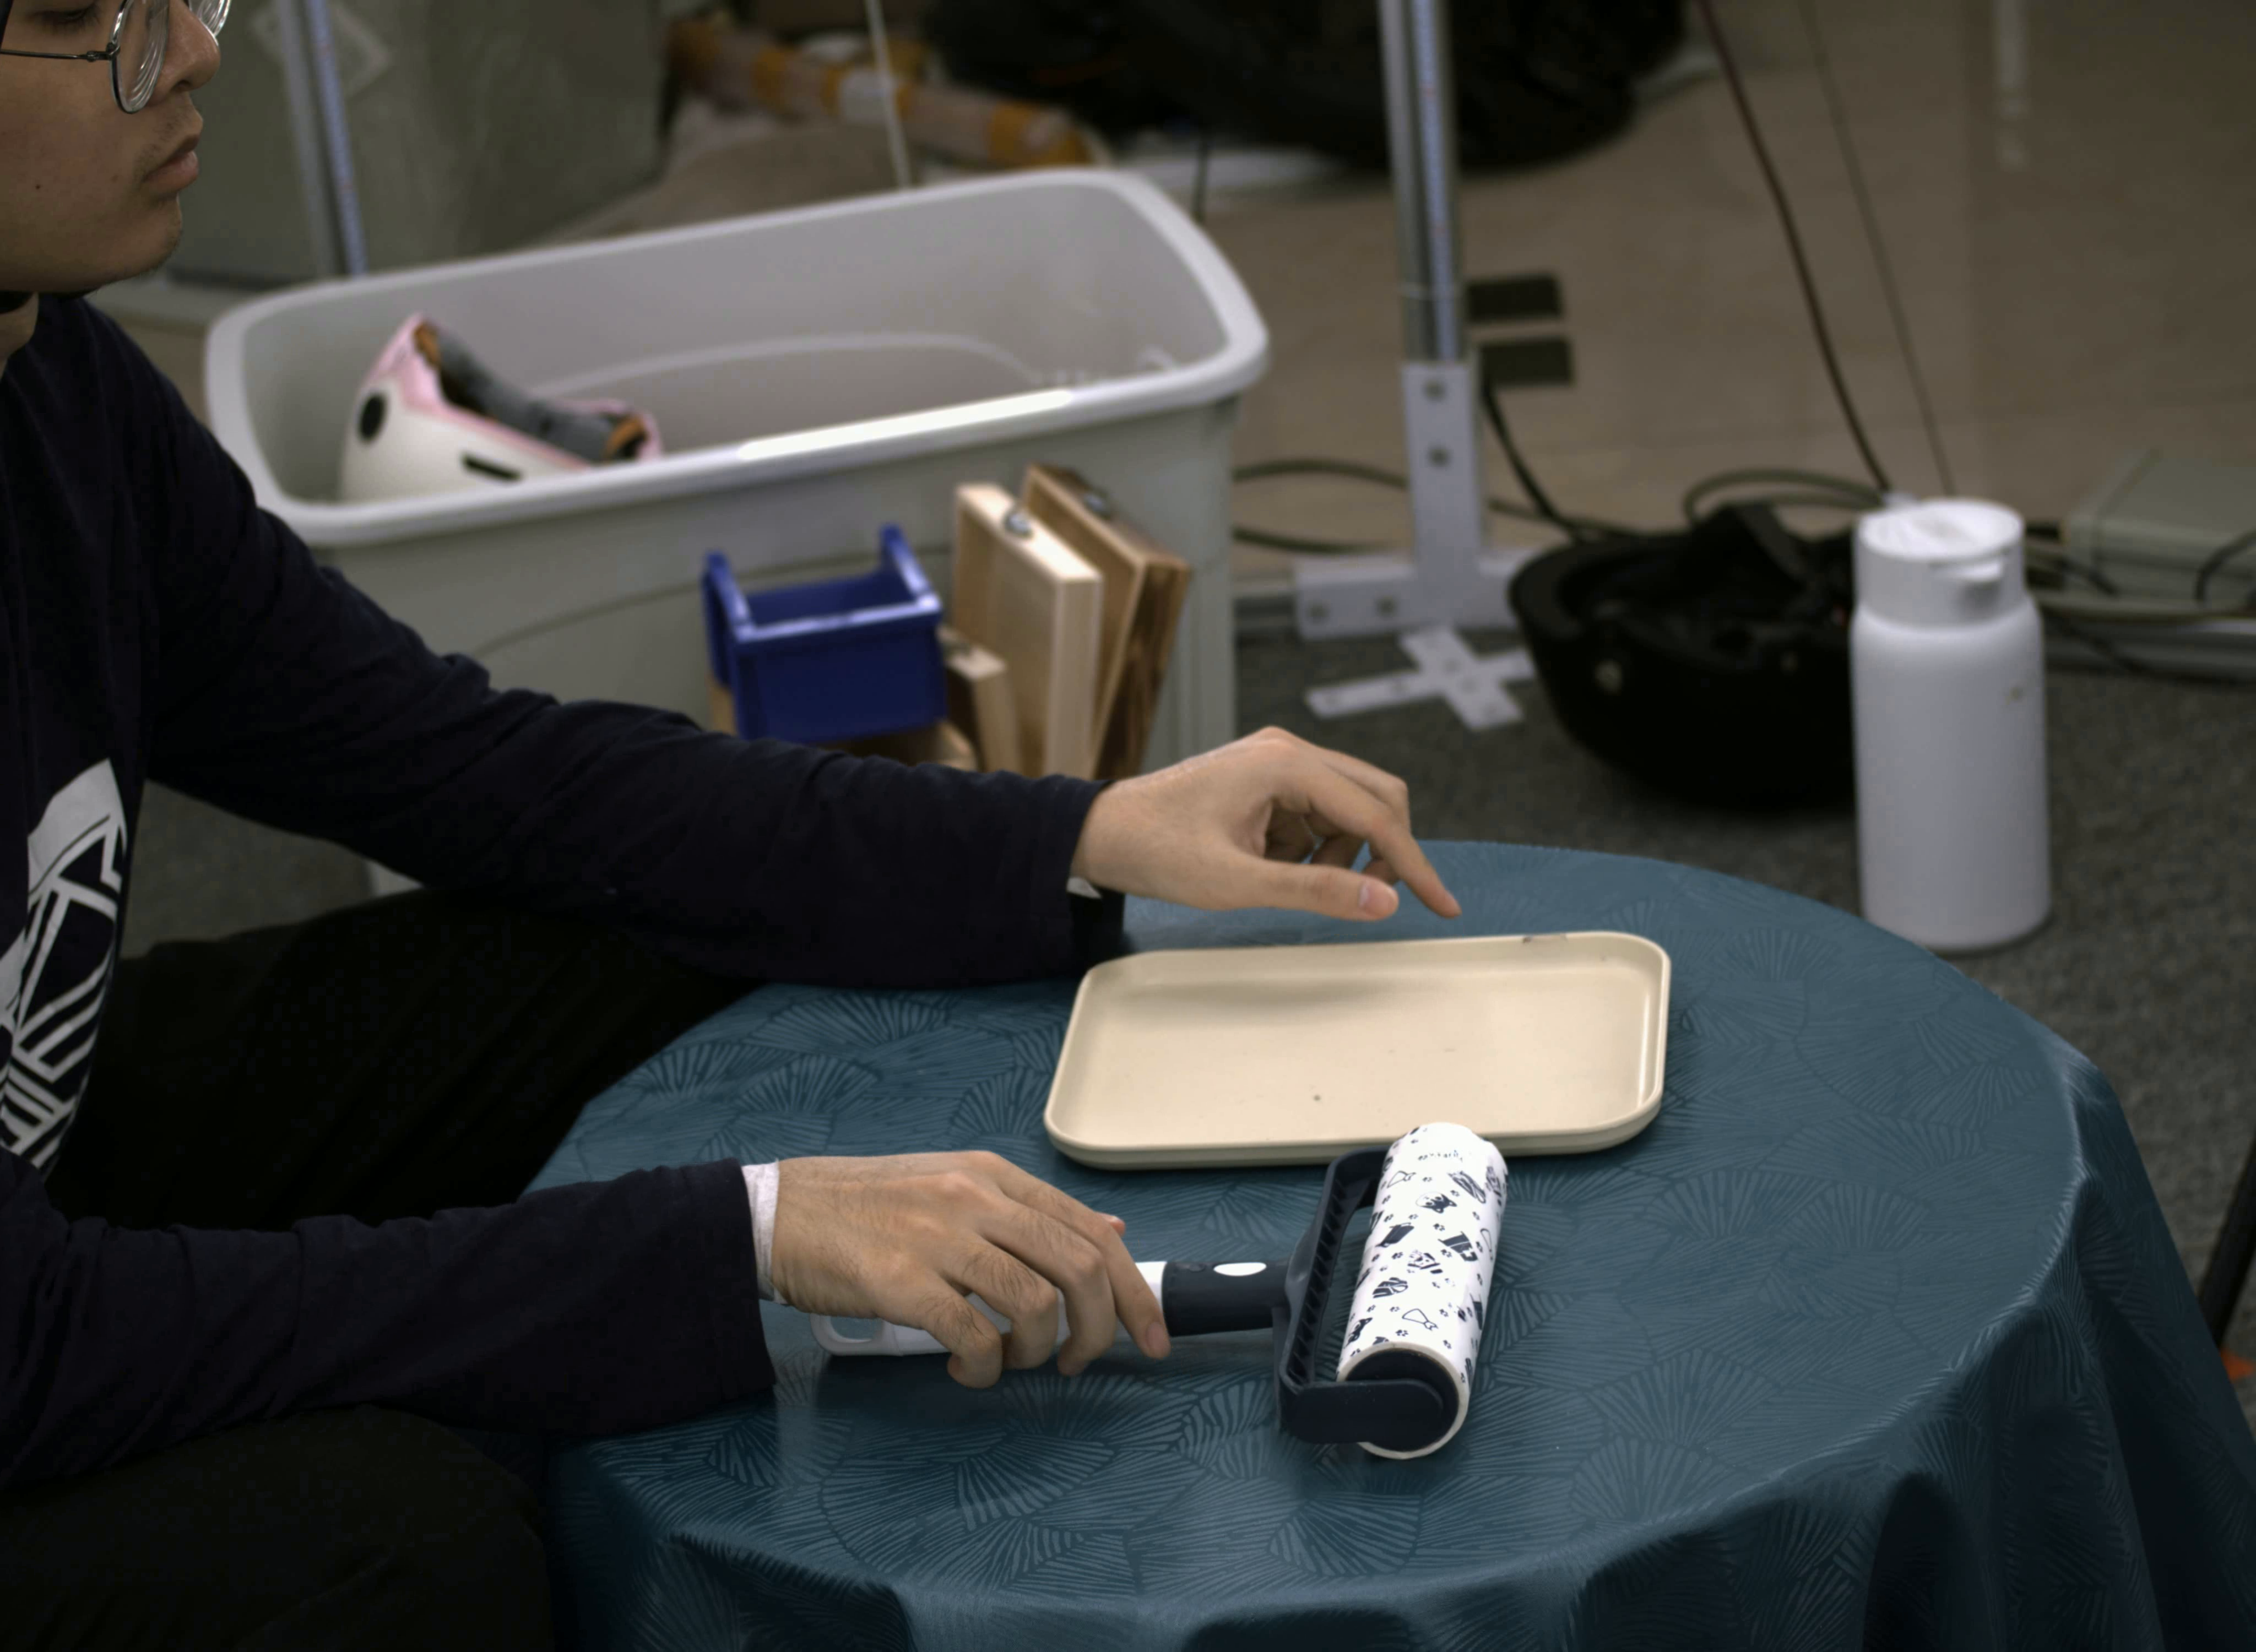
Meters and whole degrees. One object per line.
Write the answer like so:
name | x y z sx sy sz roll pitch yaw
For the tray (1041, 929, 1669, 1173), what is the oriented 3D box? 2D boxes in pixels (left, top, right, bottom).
tray | 0.091 0.089 2.215 0.239 0.018 0.169 -3 26 9

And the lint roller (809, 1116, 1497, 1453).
lint roller | 0.004 0.170 2.033 0.247 0.051 0.173 -5 25 11
